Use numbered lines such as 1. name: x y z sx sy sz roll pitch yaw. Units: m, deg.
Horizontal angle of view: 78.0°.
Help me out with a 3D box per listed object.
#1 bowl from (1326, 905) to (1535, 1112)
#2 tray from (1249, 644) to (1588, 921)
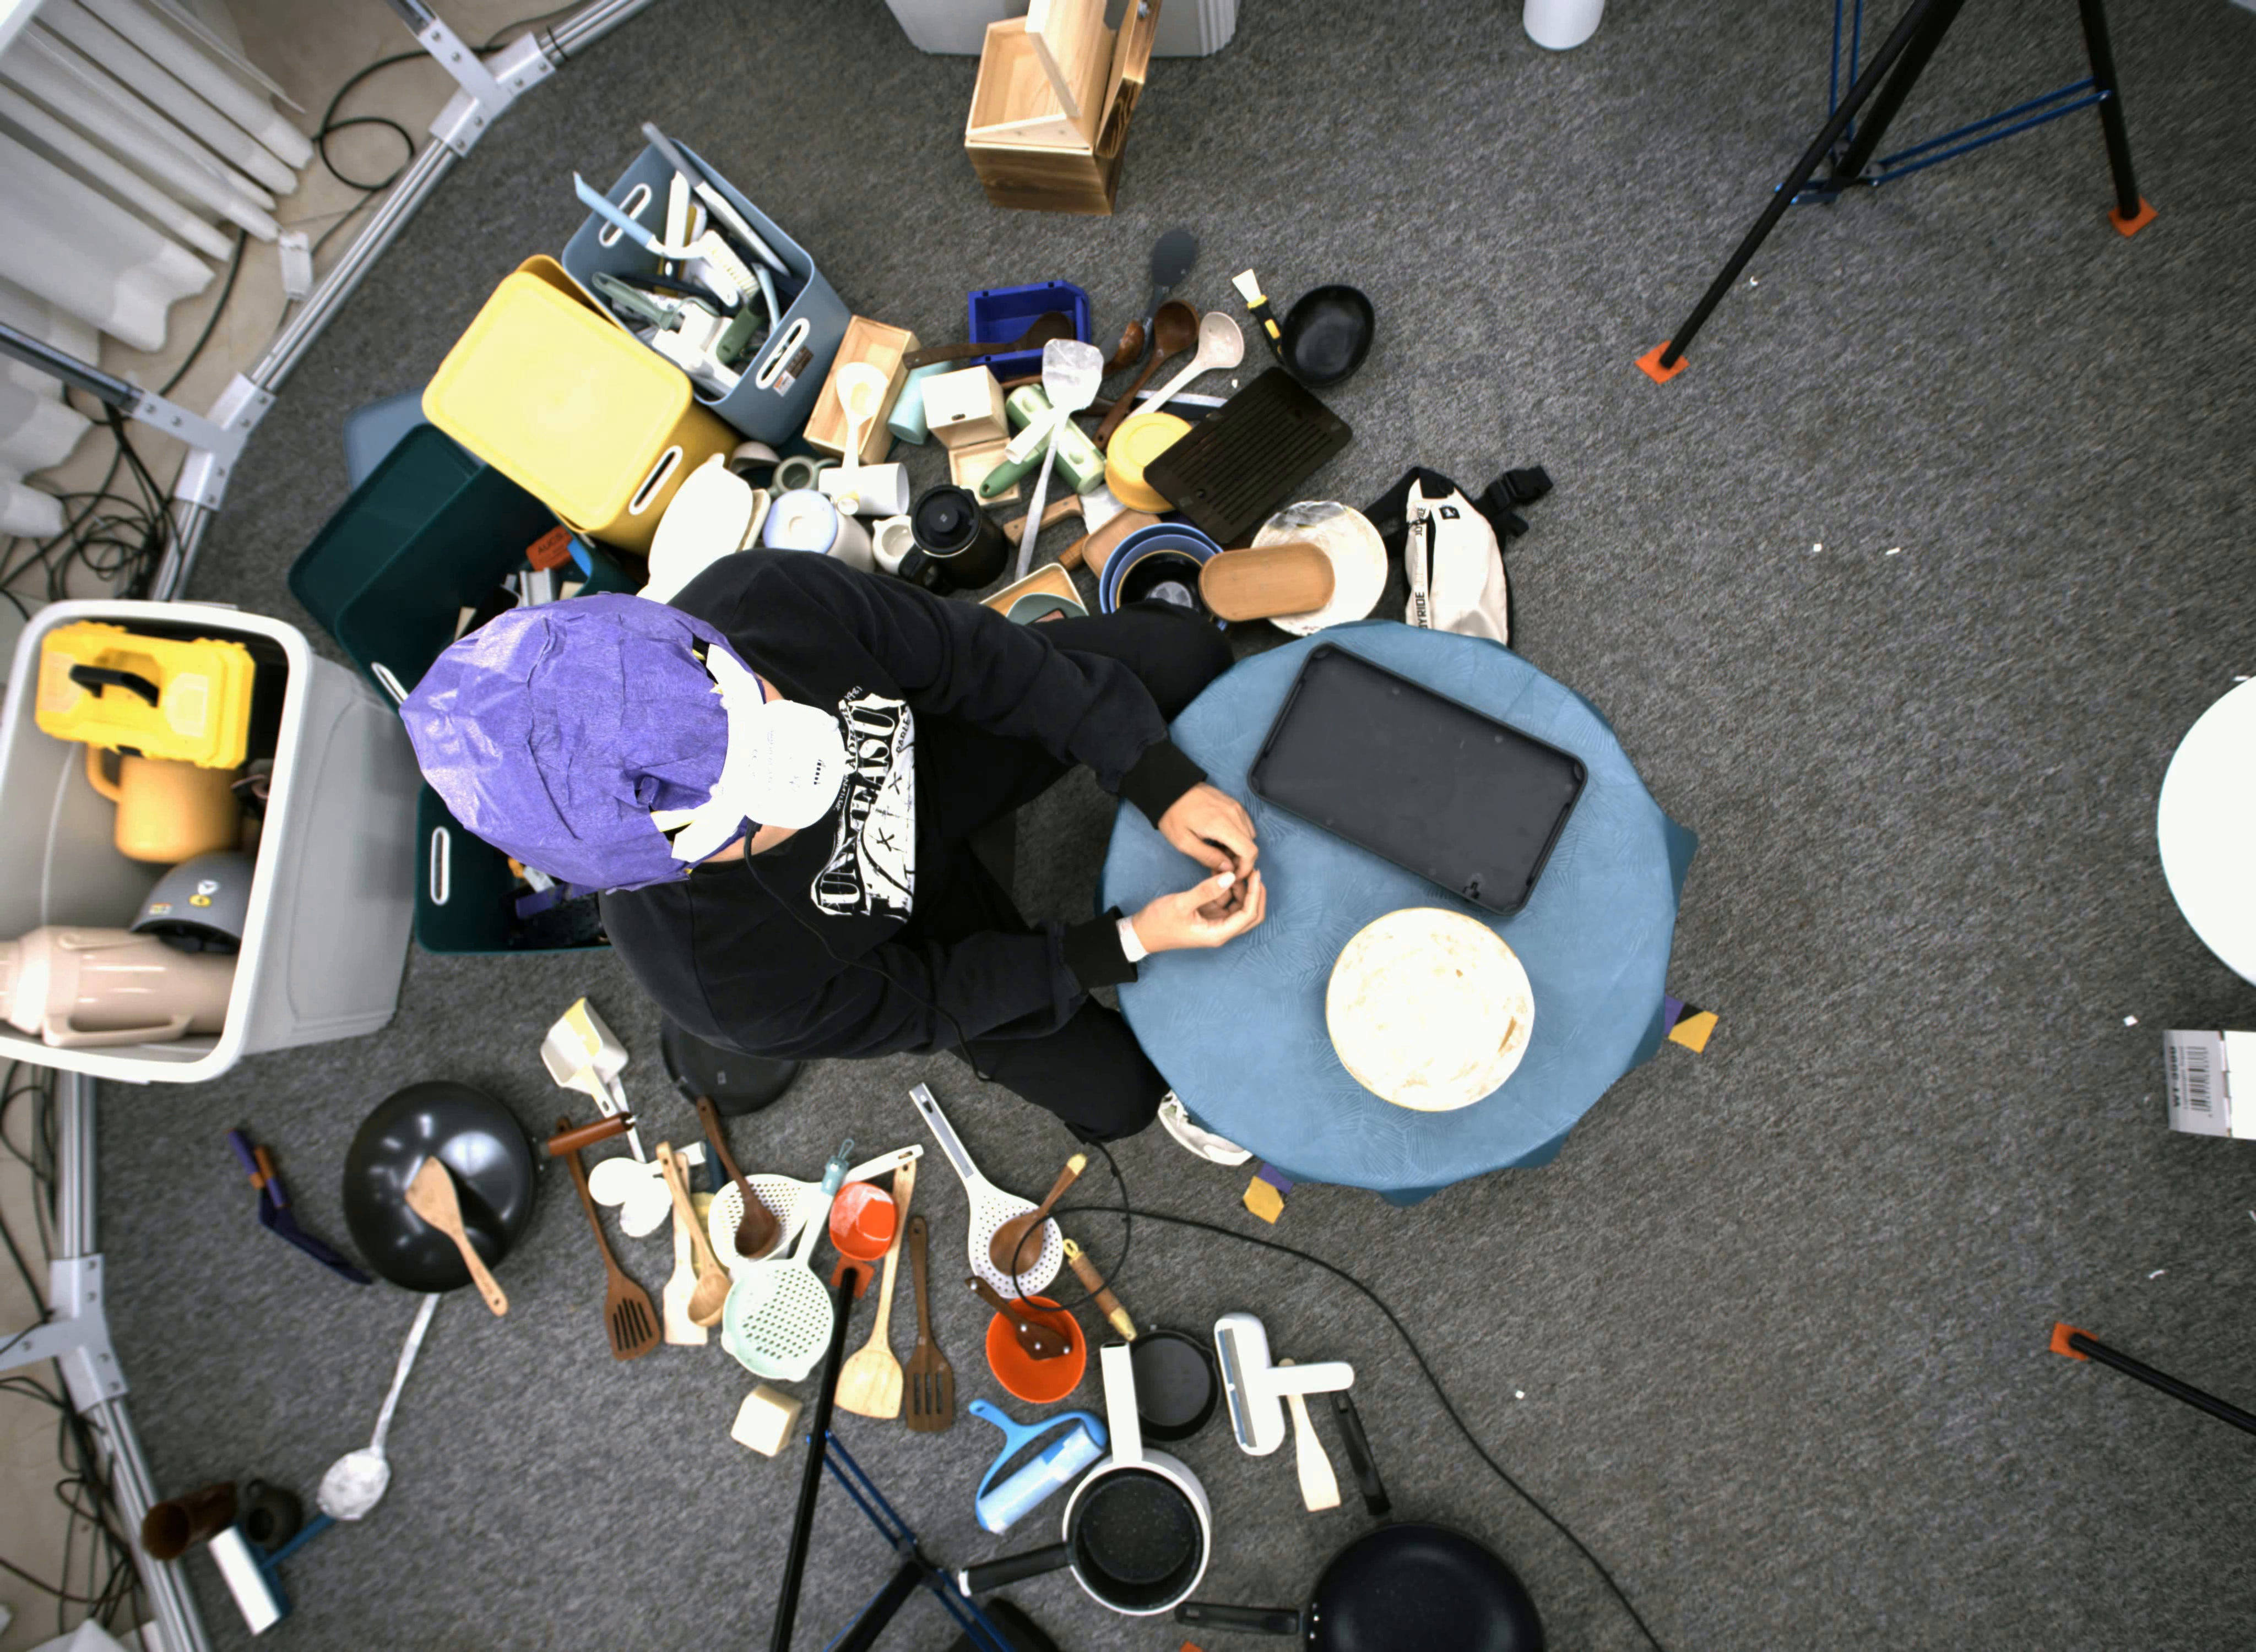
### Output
1. bowl: 0.303 0.181 1.404 0.215 0.094 0.214 -1 87 10
2. tray: 0.303 -0.048 1.450 0.317 0.037 0.184 28 91 10
